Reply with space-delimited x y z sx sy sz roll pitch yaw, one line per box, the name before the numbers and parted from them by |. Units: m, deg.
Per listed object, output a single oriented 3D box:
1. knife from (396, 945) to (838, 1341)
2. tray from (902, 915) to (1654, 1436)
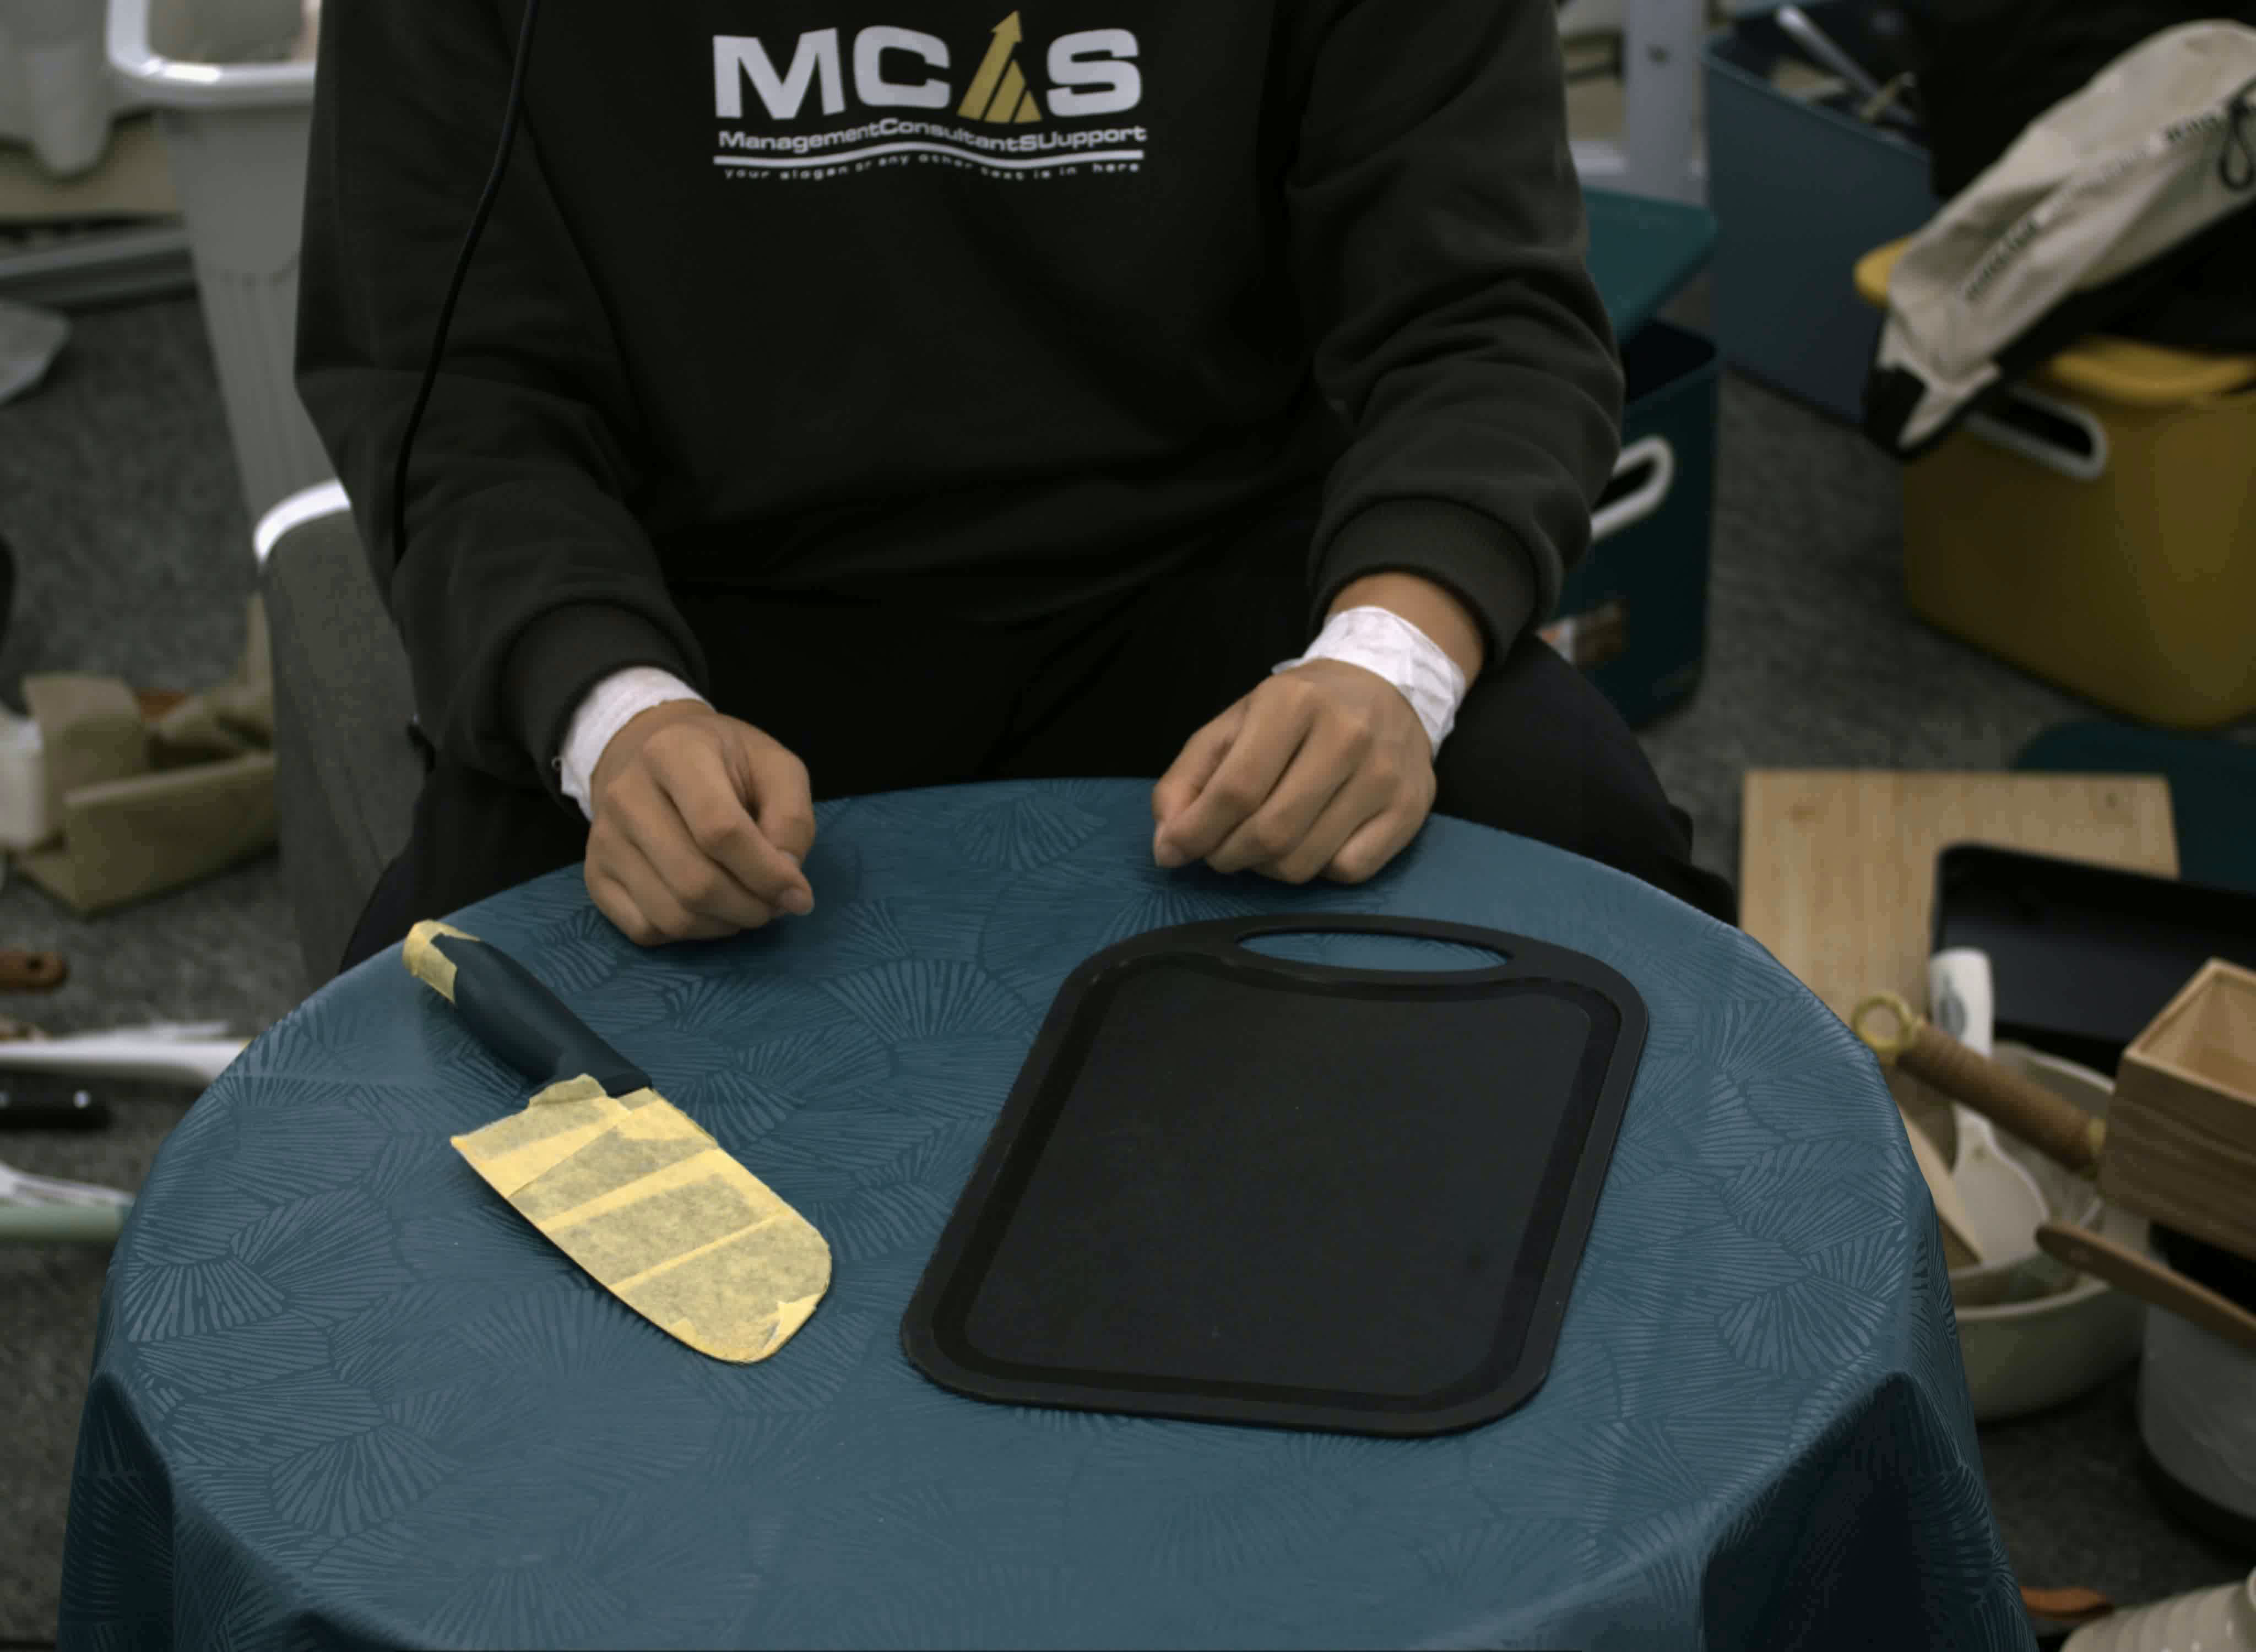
knife | -0.185 0.107 1.891 0.081 0.027 0.290 -17 31 -28
tray | 0.056 0.107 1.877 0.209 0.009 0.331 4 28 13
